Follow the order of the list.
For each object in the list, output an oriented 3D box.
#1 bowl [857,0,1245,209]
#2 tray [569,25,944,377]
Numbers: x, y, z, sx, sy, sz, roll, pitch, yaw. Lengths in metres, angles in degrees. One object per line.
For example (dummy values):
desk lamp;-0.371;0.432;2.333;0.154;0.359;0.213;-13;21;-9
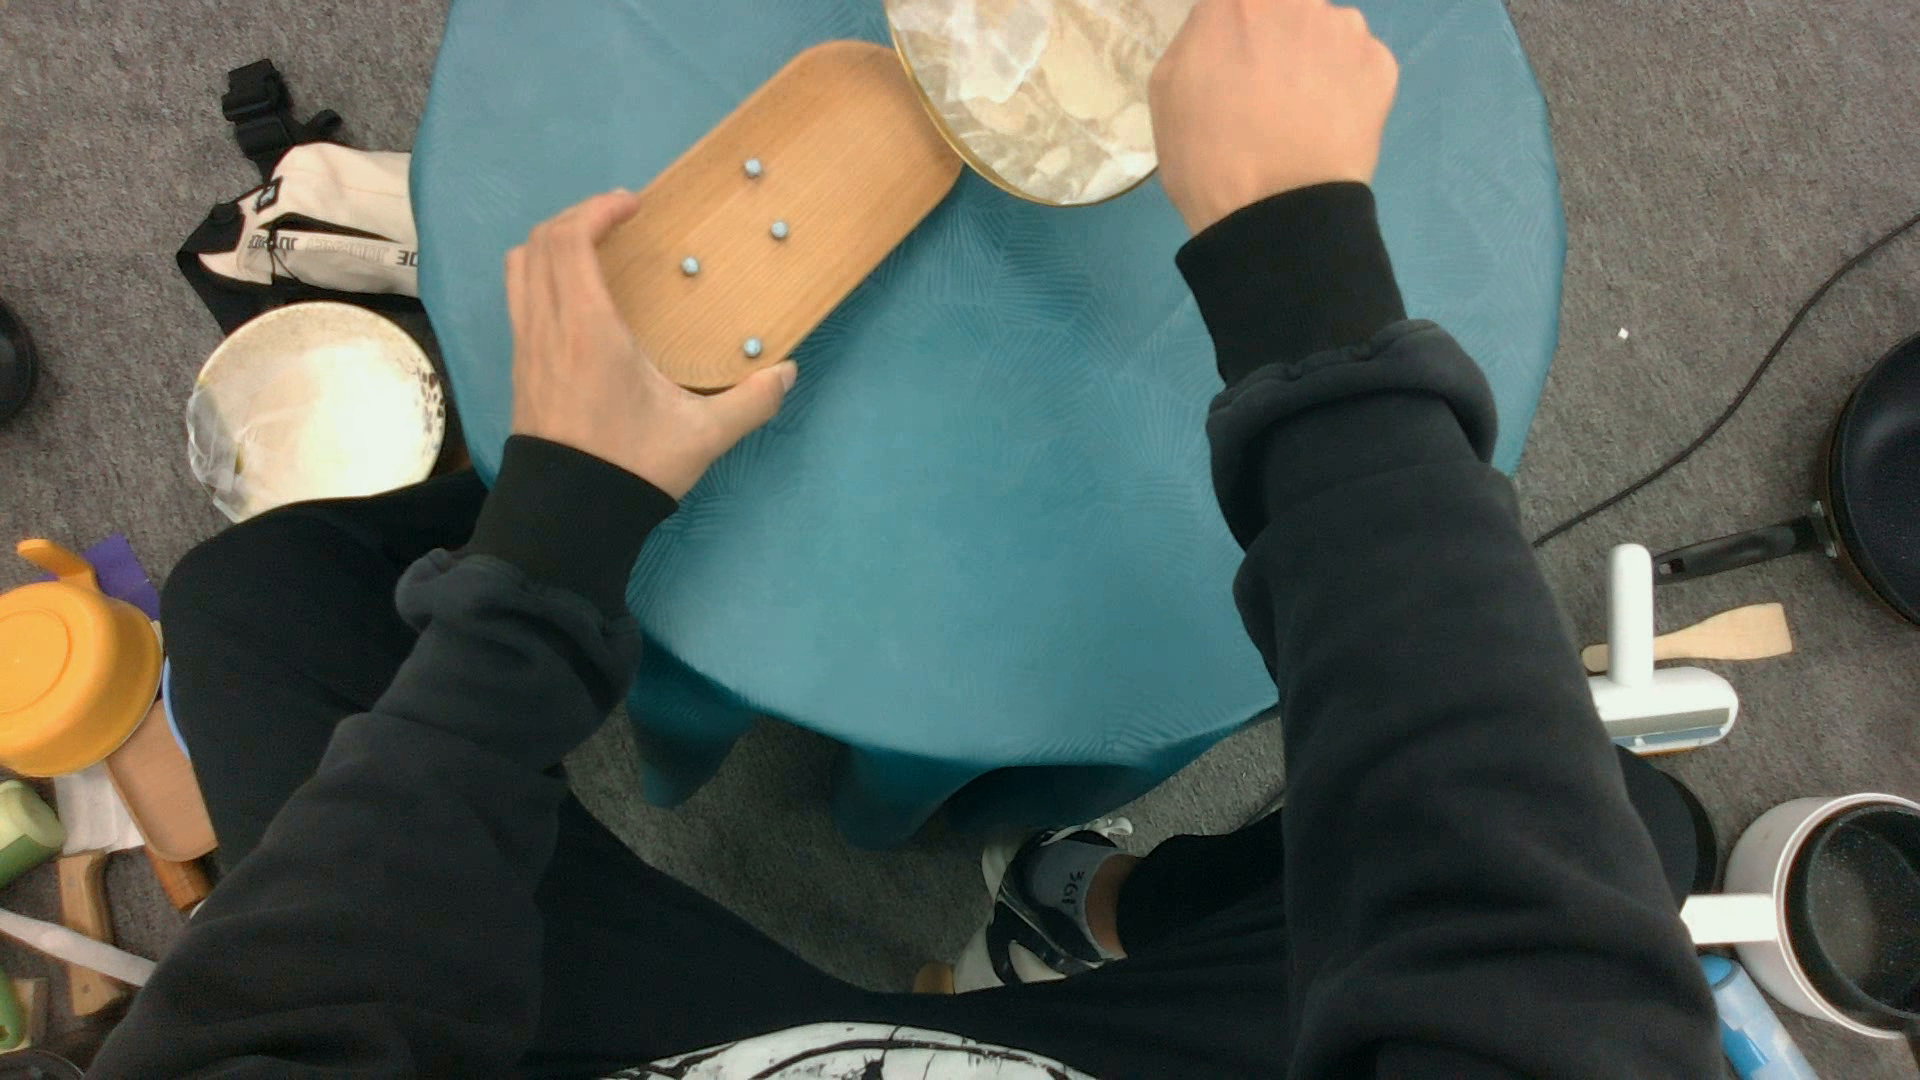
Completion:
bowl;0.050;-0.262;0.614;0.095;0.213;0.215;-33;85;-36
tray;-0.093;-0.168;0.667;0.101;0.020;0.232;40;62;-3
